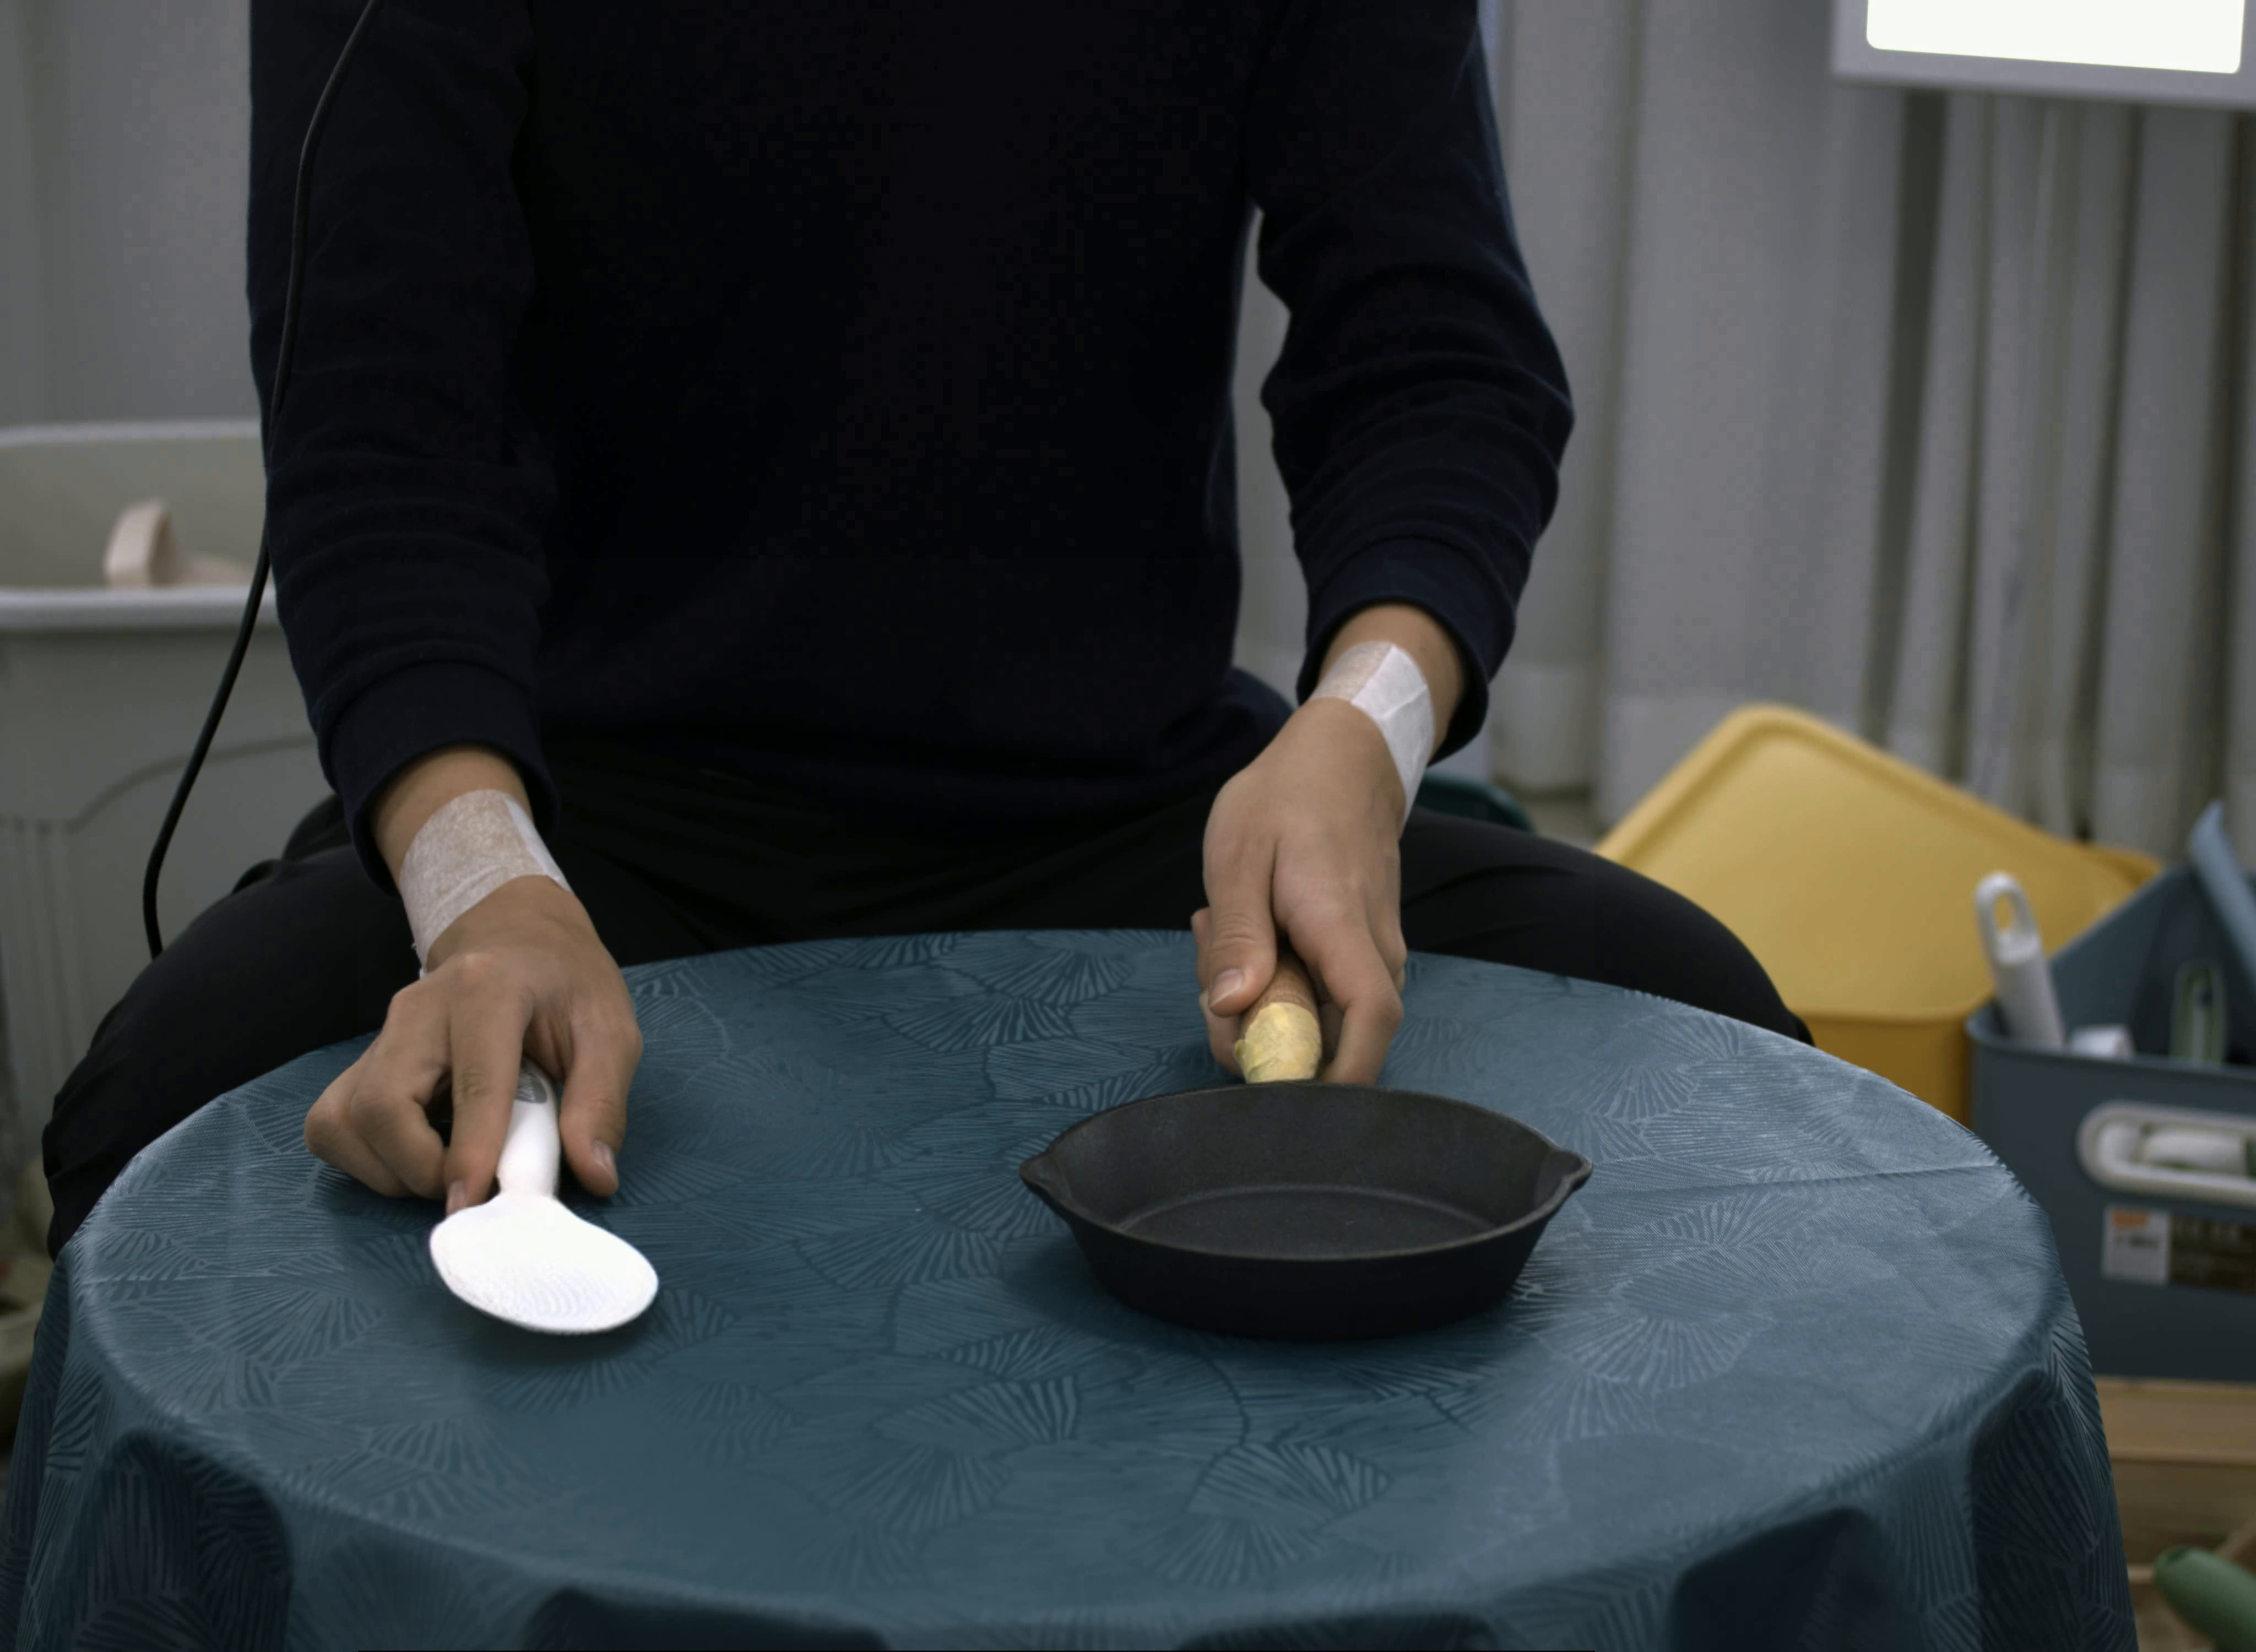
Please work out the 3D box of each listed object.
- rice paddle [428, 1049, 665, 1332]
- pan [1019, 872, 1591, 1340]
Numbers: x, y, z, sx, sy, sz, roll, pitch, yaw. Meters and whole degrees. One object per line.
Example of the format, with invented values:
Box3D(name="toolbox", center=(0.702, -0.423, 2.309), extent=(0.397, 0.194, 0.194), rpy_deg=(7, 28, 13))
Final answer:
Box3D(name="rice paddle", center=(-0.177, 0.110, 1.568), extent=(0.069, 0.029, 0.203), rpy_deg=(8, 14, -13))
Box3D(name="pan", center=(0.052, 0.083, 1.633), extent=(0.168, 0.050, 0.322), rpy_deg=(0, 17, 0))
